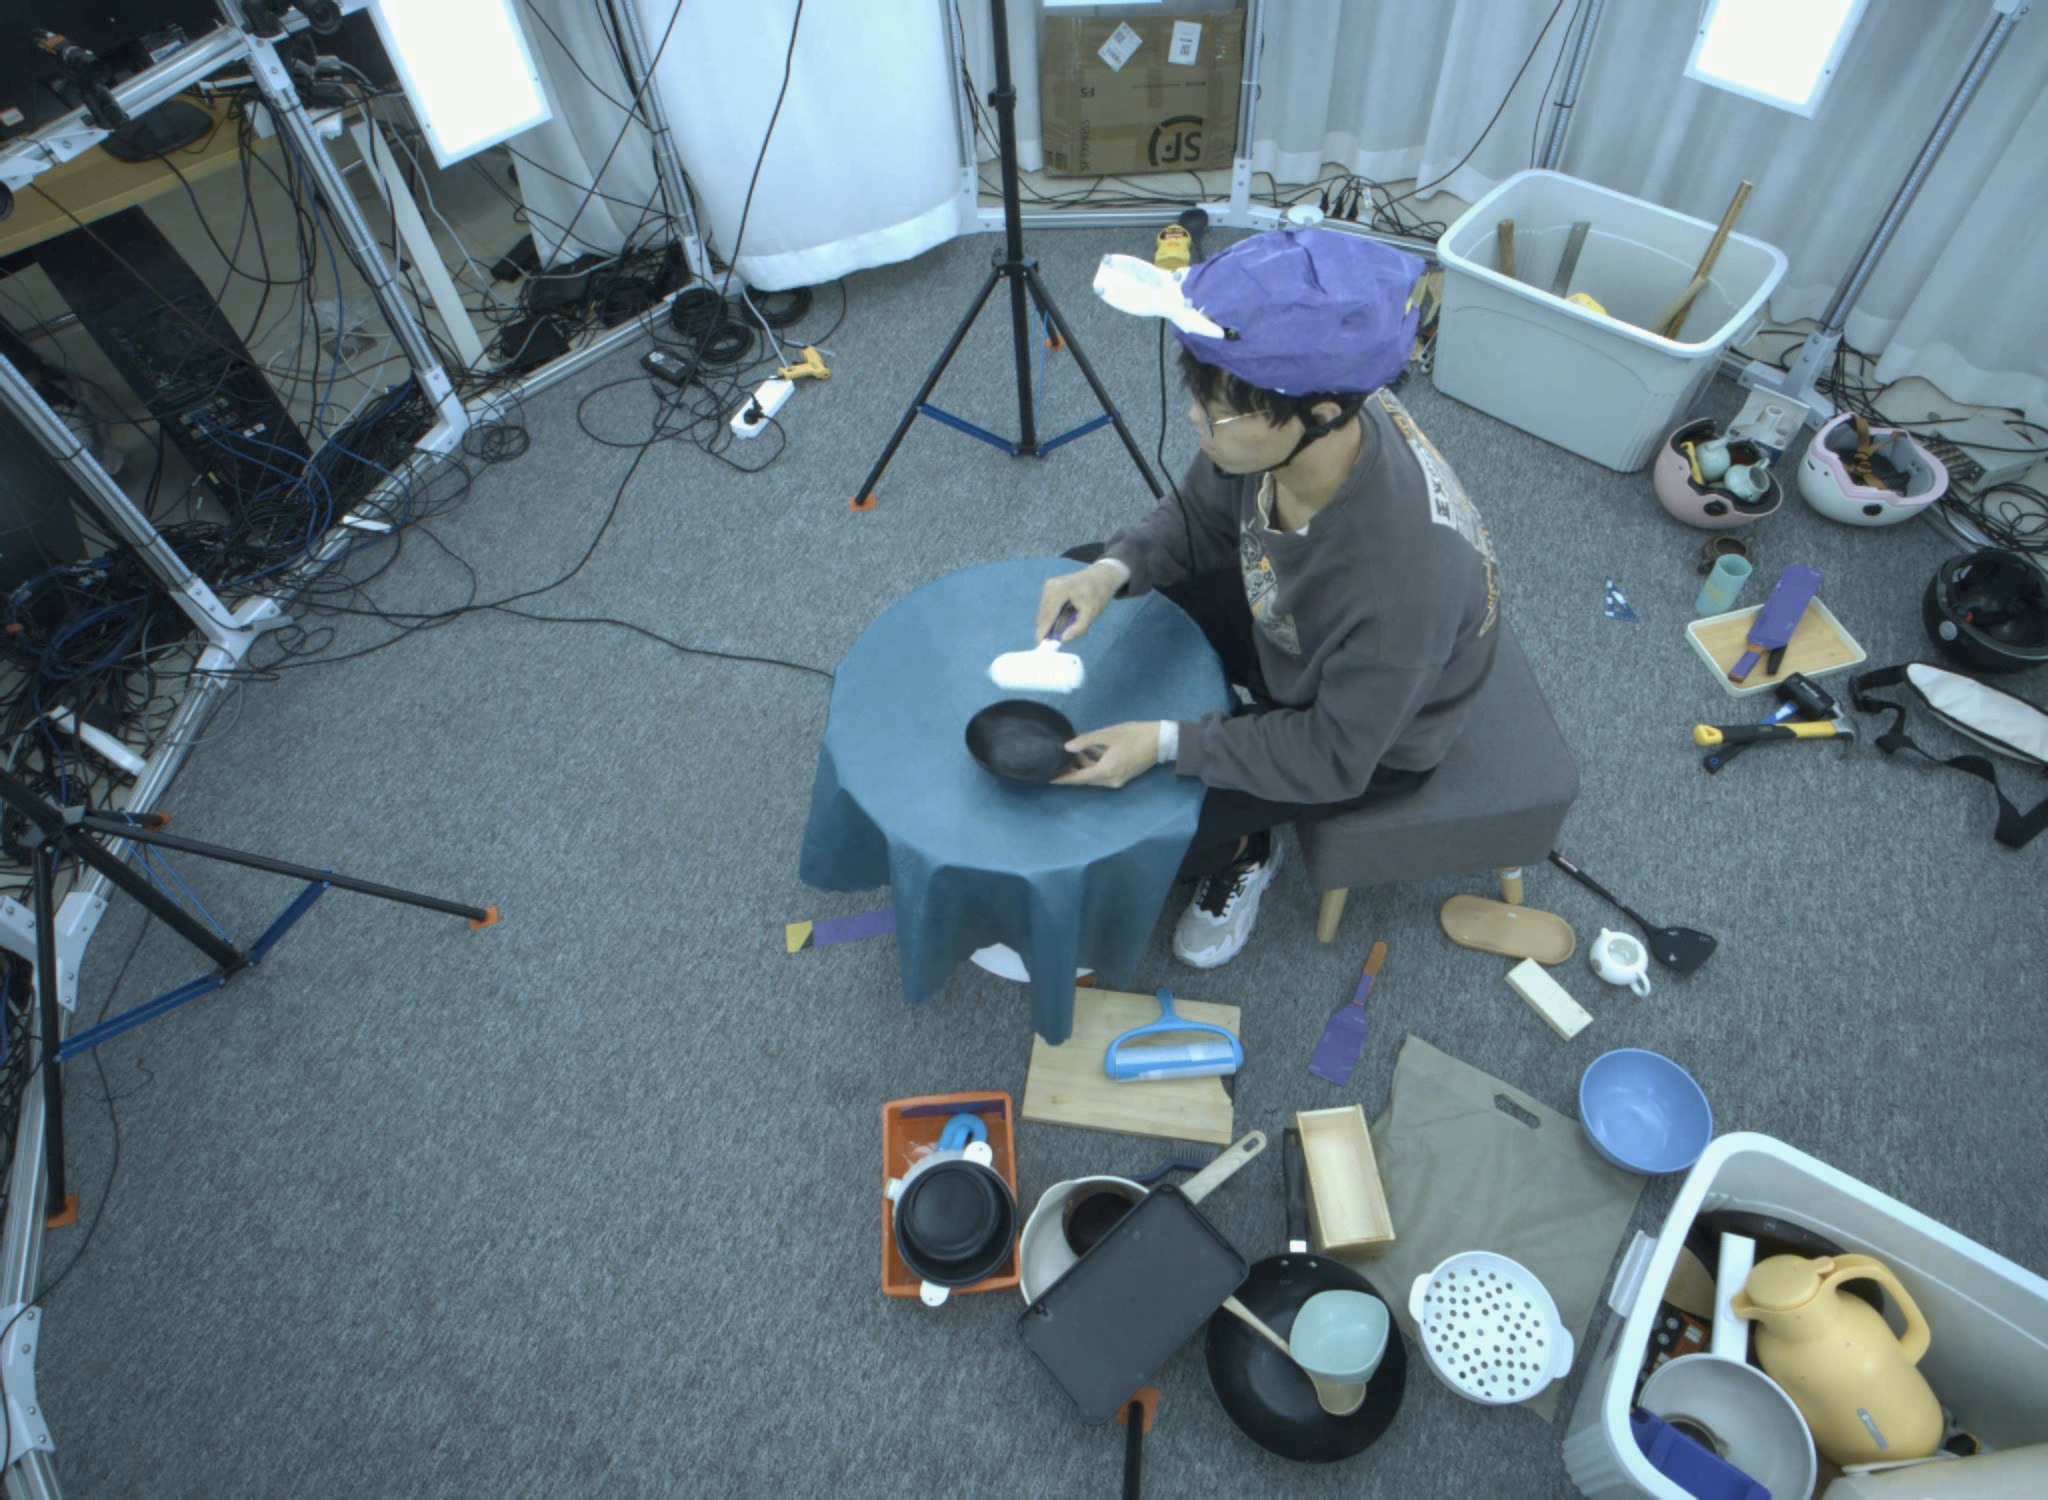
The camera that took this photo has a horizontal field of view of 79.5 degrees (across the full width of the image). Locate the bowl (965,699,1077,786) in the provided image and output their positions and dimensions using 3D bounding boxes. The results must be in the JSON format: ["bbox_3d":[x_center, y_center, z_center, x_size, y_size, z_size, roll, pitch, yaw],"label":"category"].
[{"bbox_3d":[-0.004,0.000,1.746,0.168,0.067,0.138,22,57,20],"label":"bowl"}]

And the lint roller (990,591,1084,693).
[{"bbox_3d":[0.038,-0.156,1.673,0.130,0.051,0.180,7,62,30],"label":"lint roller"}]
